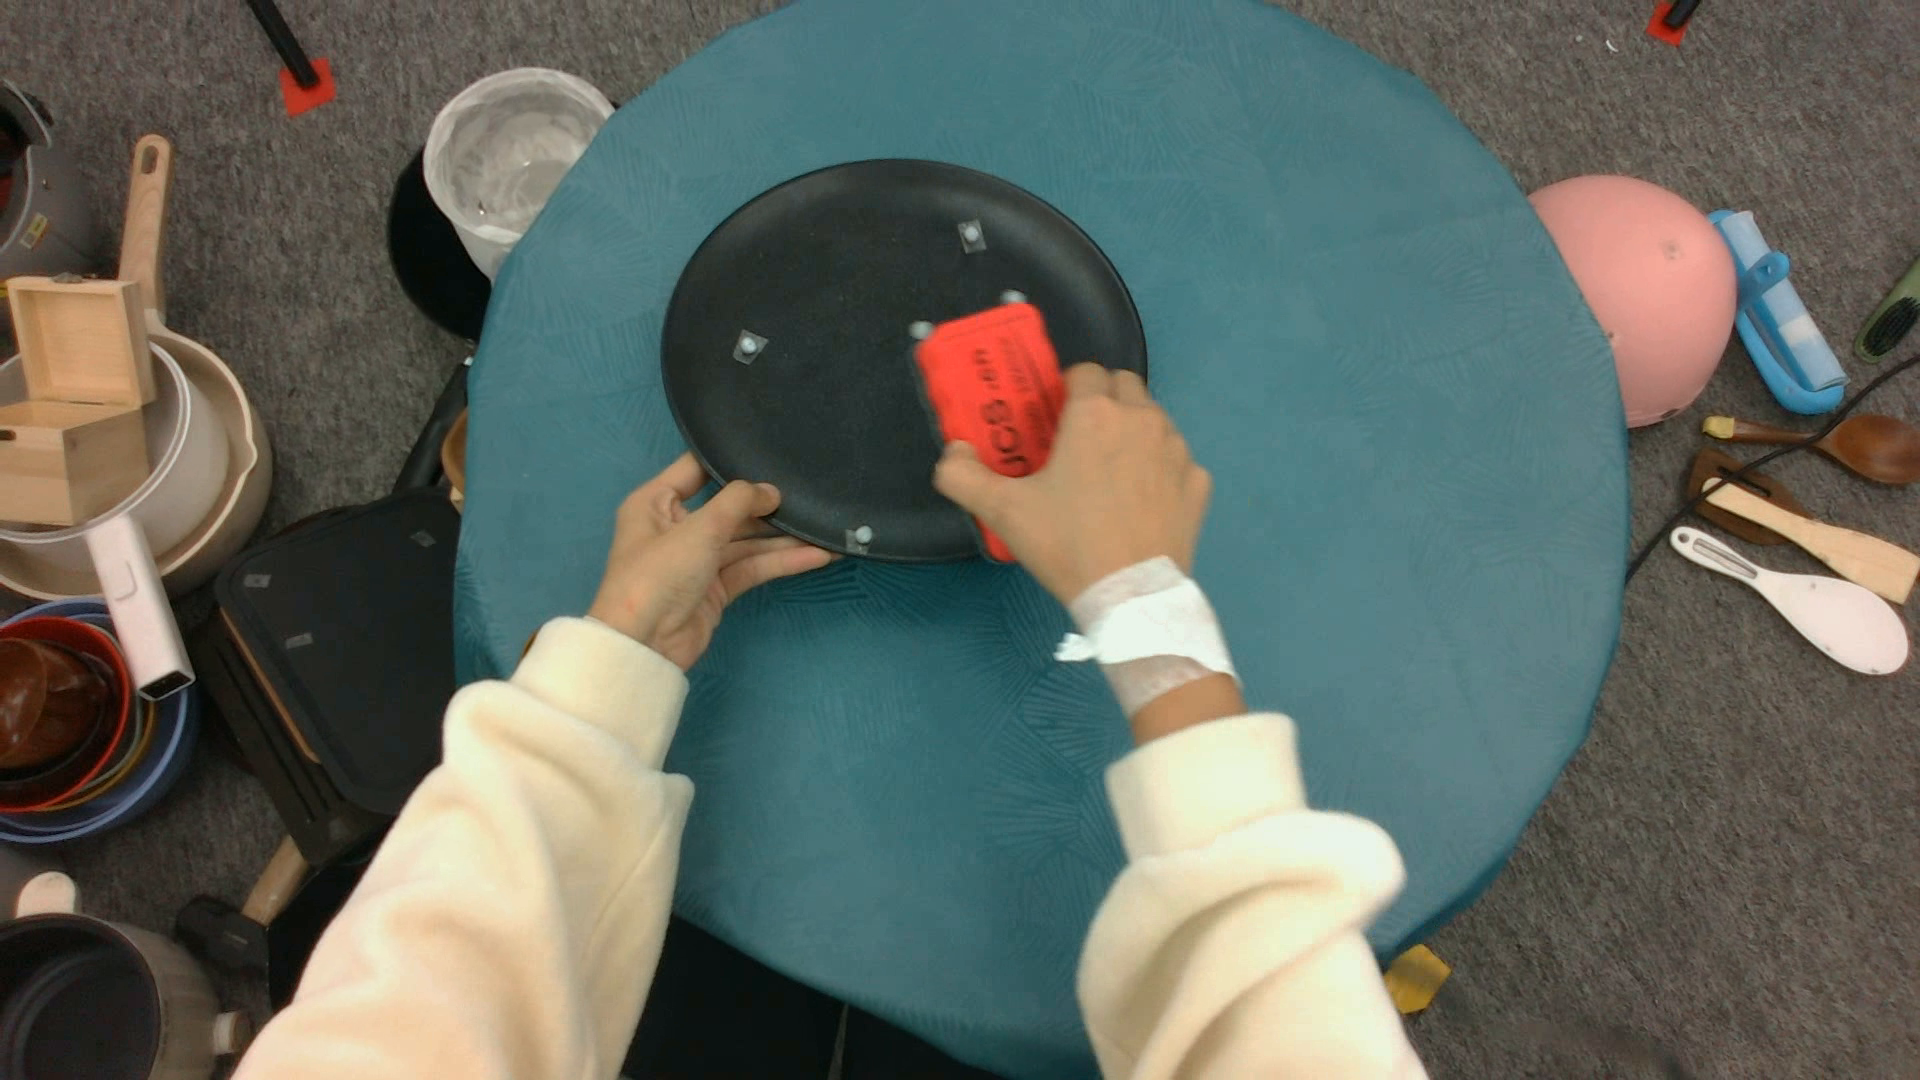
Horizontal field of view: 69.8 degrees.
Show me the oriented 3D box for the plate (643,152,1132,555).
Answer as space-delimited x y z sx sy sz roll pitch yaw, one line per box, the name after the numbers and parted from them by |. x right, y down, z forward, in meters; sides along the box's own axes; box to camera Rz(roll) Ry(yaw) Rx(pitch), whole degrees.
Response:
-0.035 -0.097 0.693 0.244 0.023 0.245 3 62 -6 | plate

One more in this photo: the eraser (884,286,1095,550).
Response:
0.013 -0.054 0.603 0.059 0.023 0.108 -24 88 -30 | eraser
